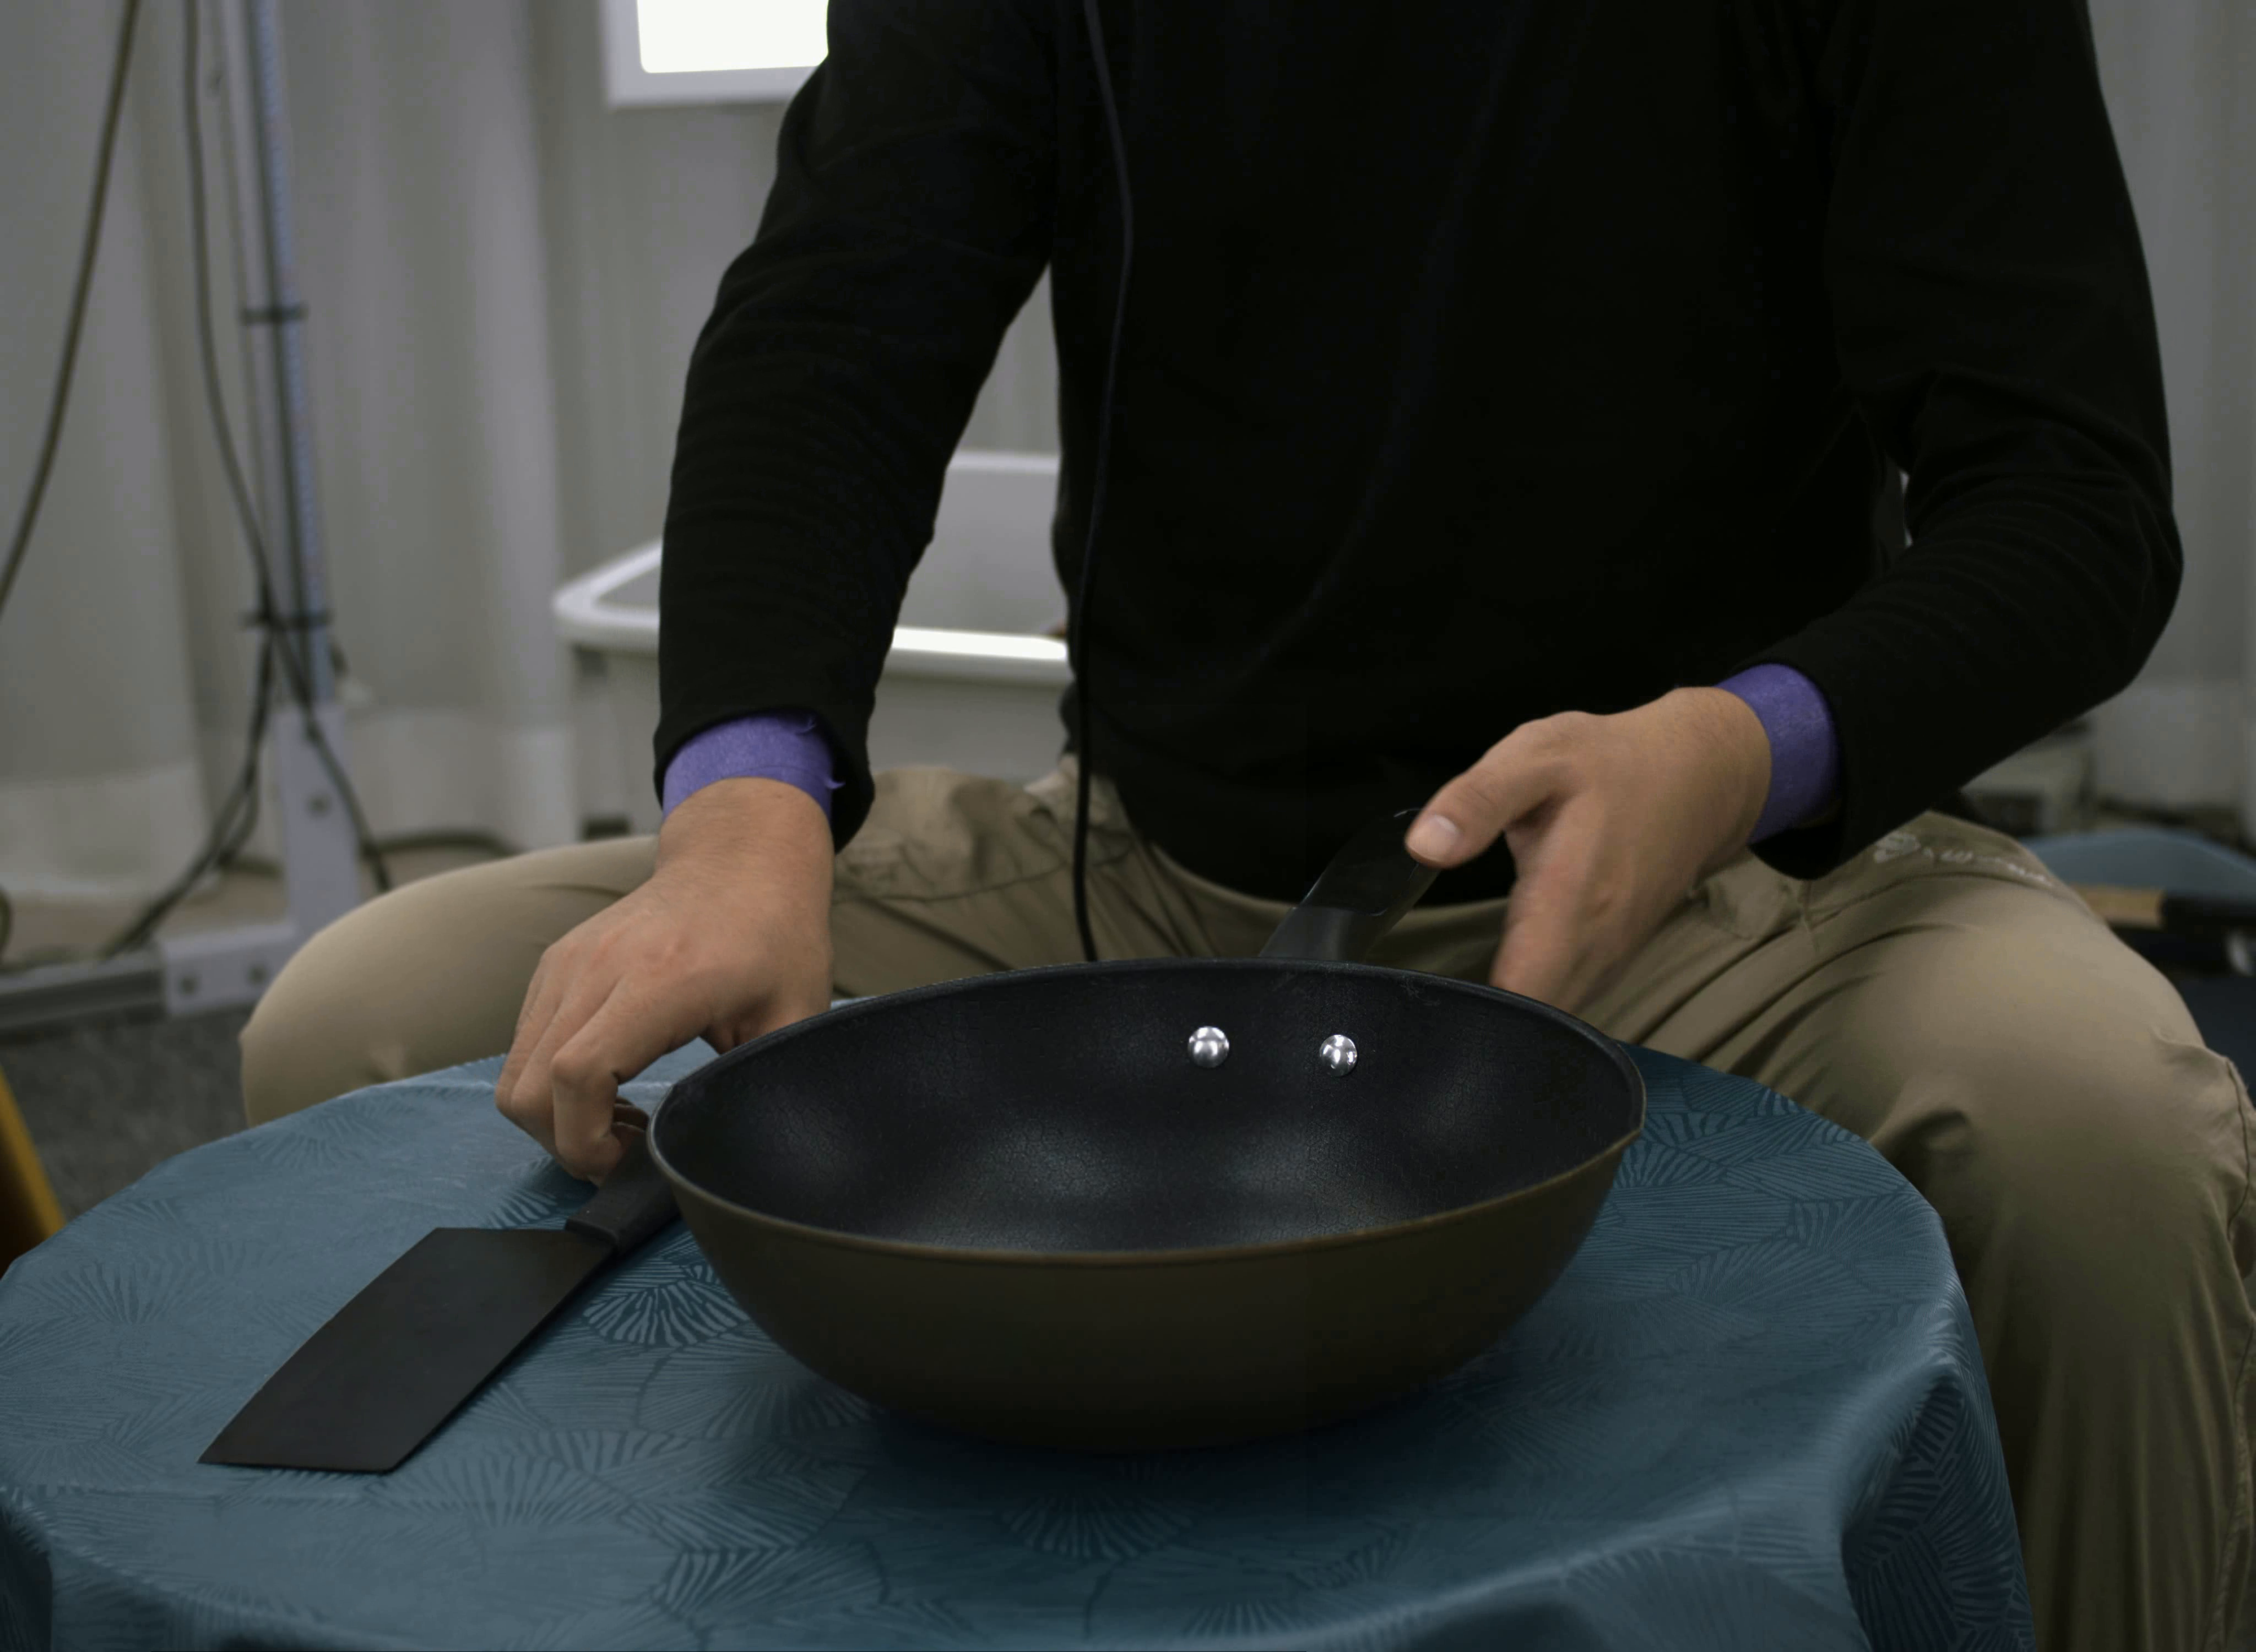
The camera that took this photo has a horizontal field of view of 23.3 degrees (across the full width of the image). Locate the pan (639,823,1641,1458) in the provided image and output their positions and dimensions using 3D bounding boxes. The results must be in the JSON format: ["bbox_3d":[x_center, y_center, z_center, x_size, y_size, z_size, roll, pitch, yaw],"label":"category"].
[{"bbox_3d":[0.033,0.092,1.637,0.288,0.086,0.465,2,15,18],"label":"pan"}]

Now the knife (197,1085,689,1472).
[{"bbox_3d":[-0.187,0.134,1.651,0.081,0.021,0.303,3,18,21],"label":"knife"}]
